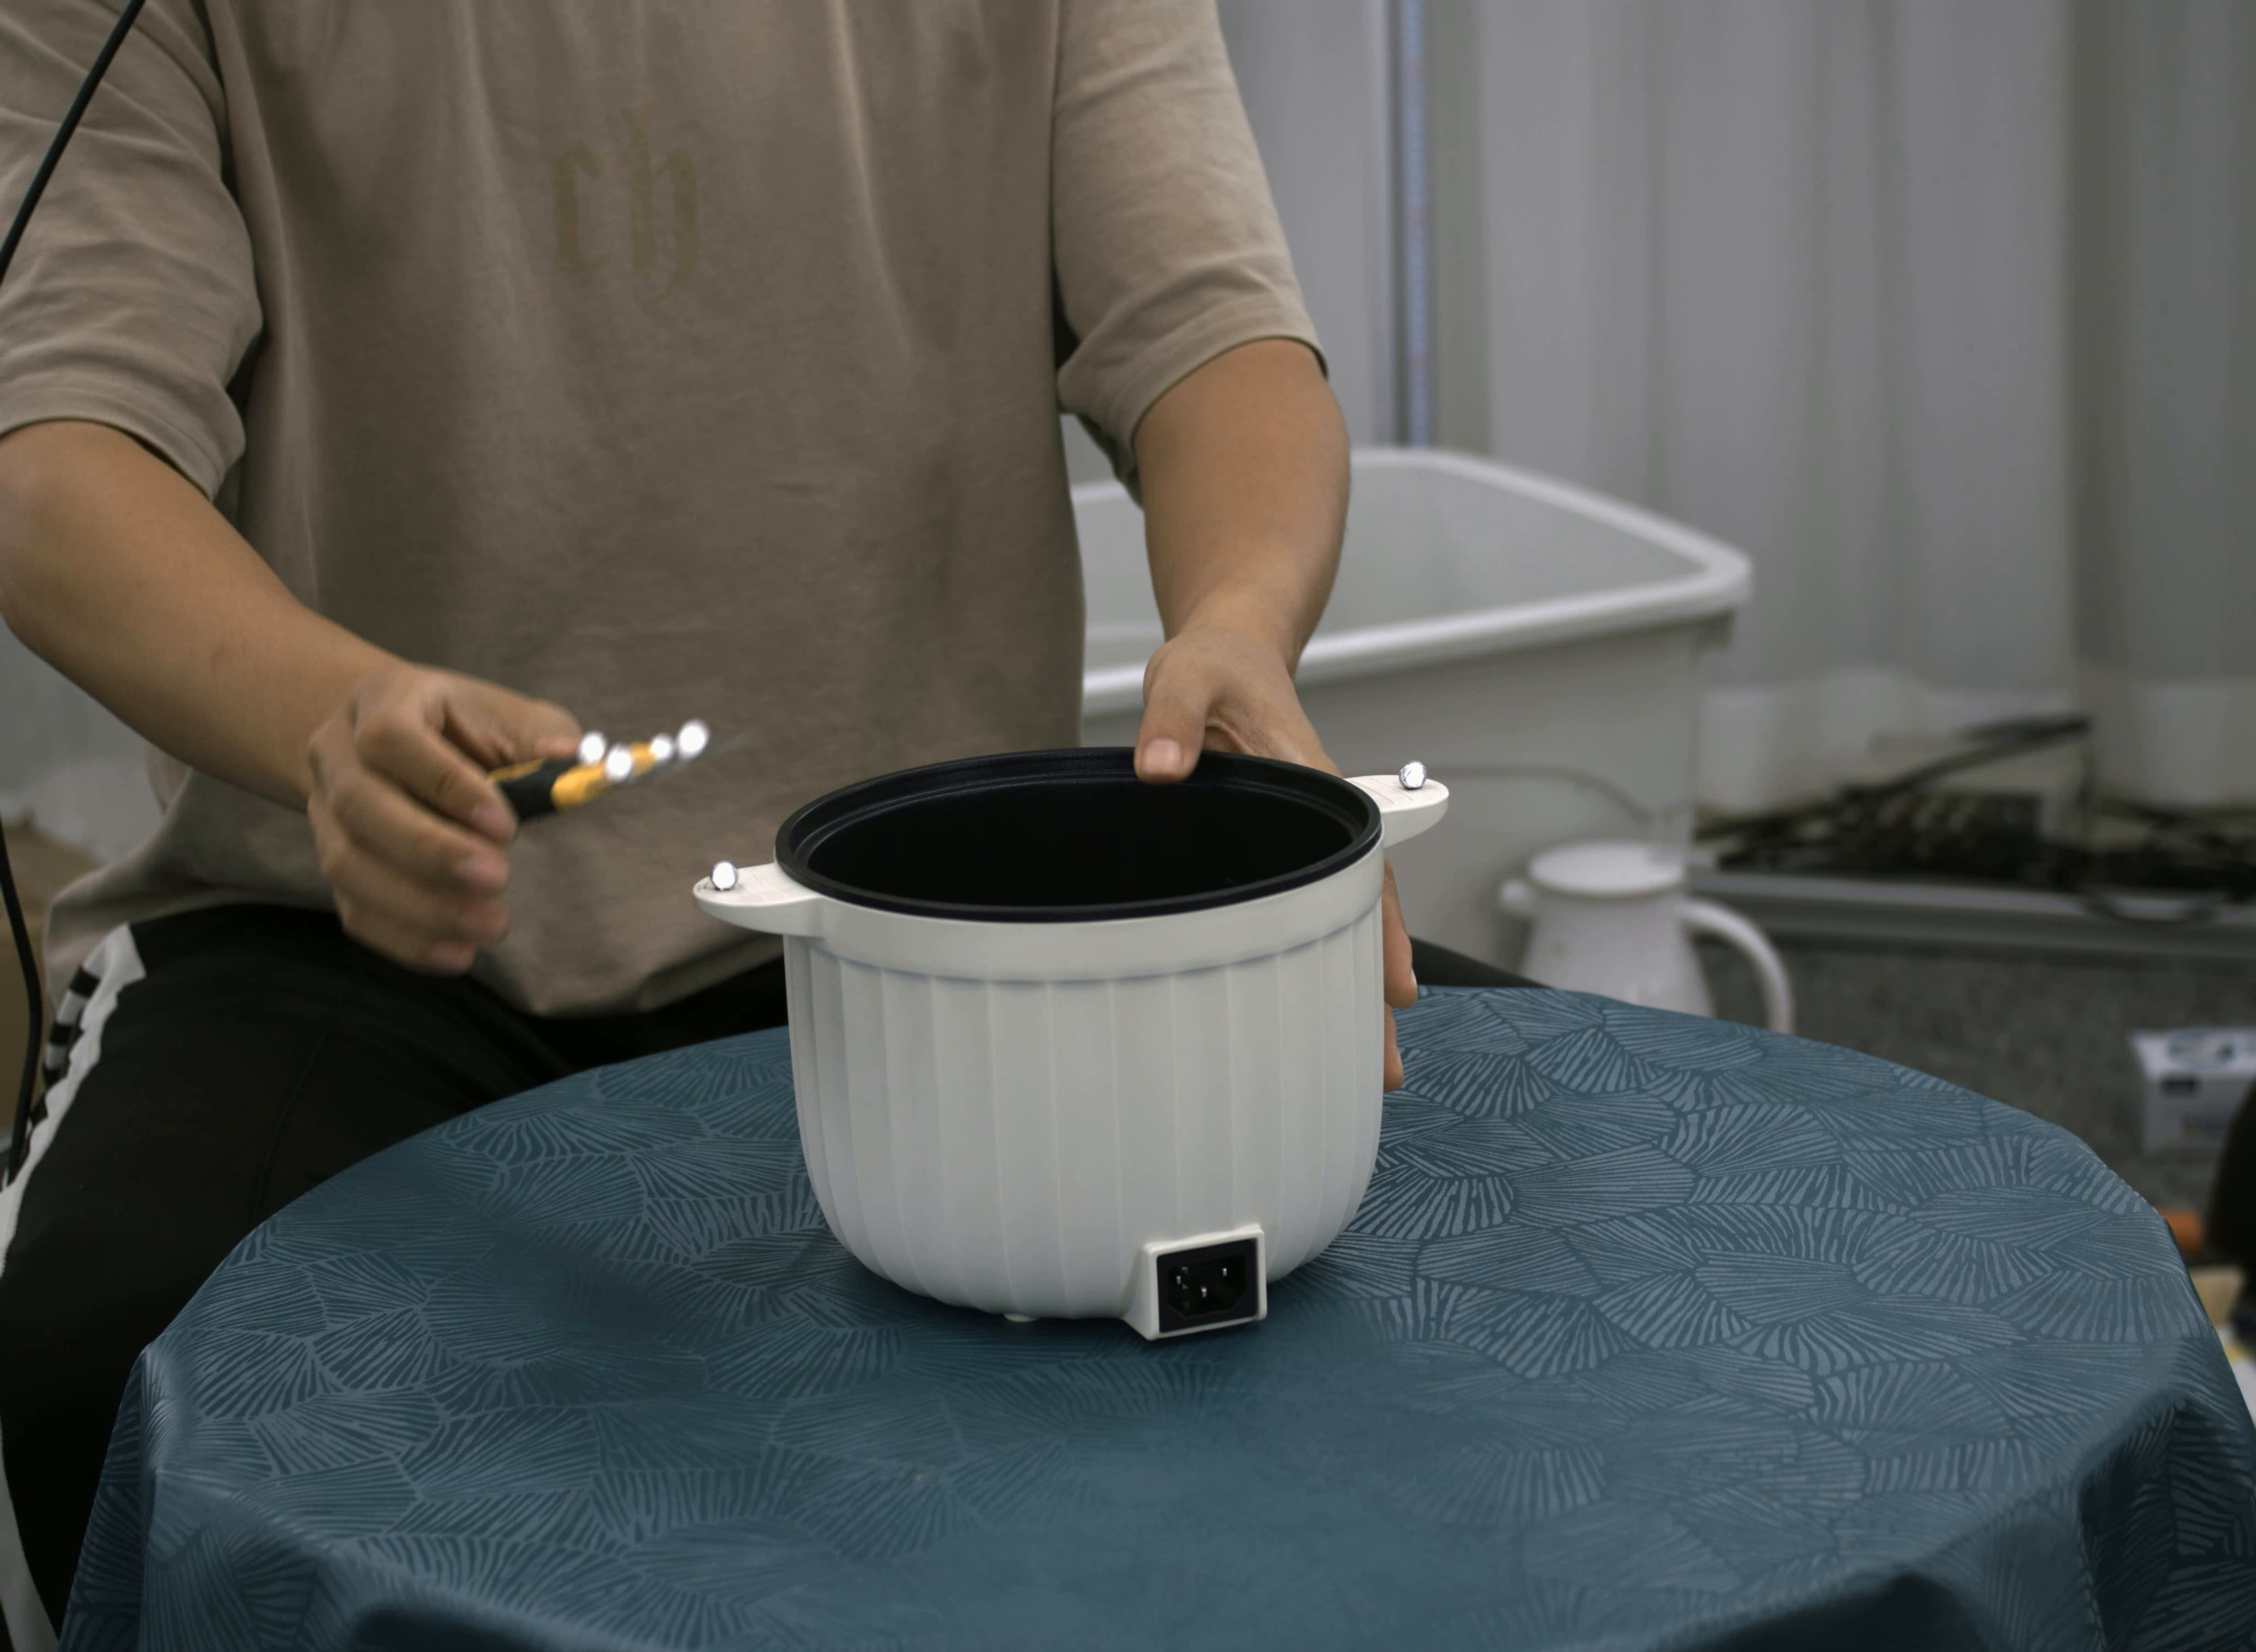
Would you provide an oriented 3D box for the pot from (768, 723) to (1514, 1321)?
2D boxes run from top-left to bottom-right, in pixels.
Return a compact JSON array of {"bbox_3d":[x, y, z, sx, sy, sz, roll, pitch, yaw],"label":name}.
[{"bbox_3d":[0.005,0.056,1.648,0.239,0.142,0.192,-7,19,-22],"label":"pot"}]

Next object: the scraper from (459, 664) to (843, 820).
[{"bbox_3d":[-0.141,-0.023,1.566,0.039,0.015,0.171,-33,12,-36],"label":"scraper"}]
